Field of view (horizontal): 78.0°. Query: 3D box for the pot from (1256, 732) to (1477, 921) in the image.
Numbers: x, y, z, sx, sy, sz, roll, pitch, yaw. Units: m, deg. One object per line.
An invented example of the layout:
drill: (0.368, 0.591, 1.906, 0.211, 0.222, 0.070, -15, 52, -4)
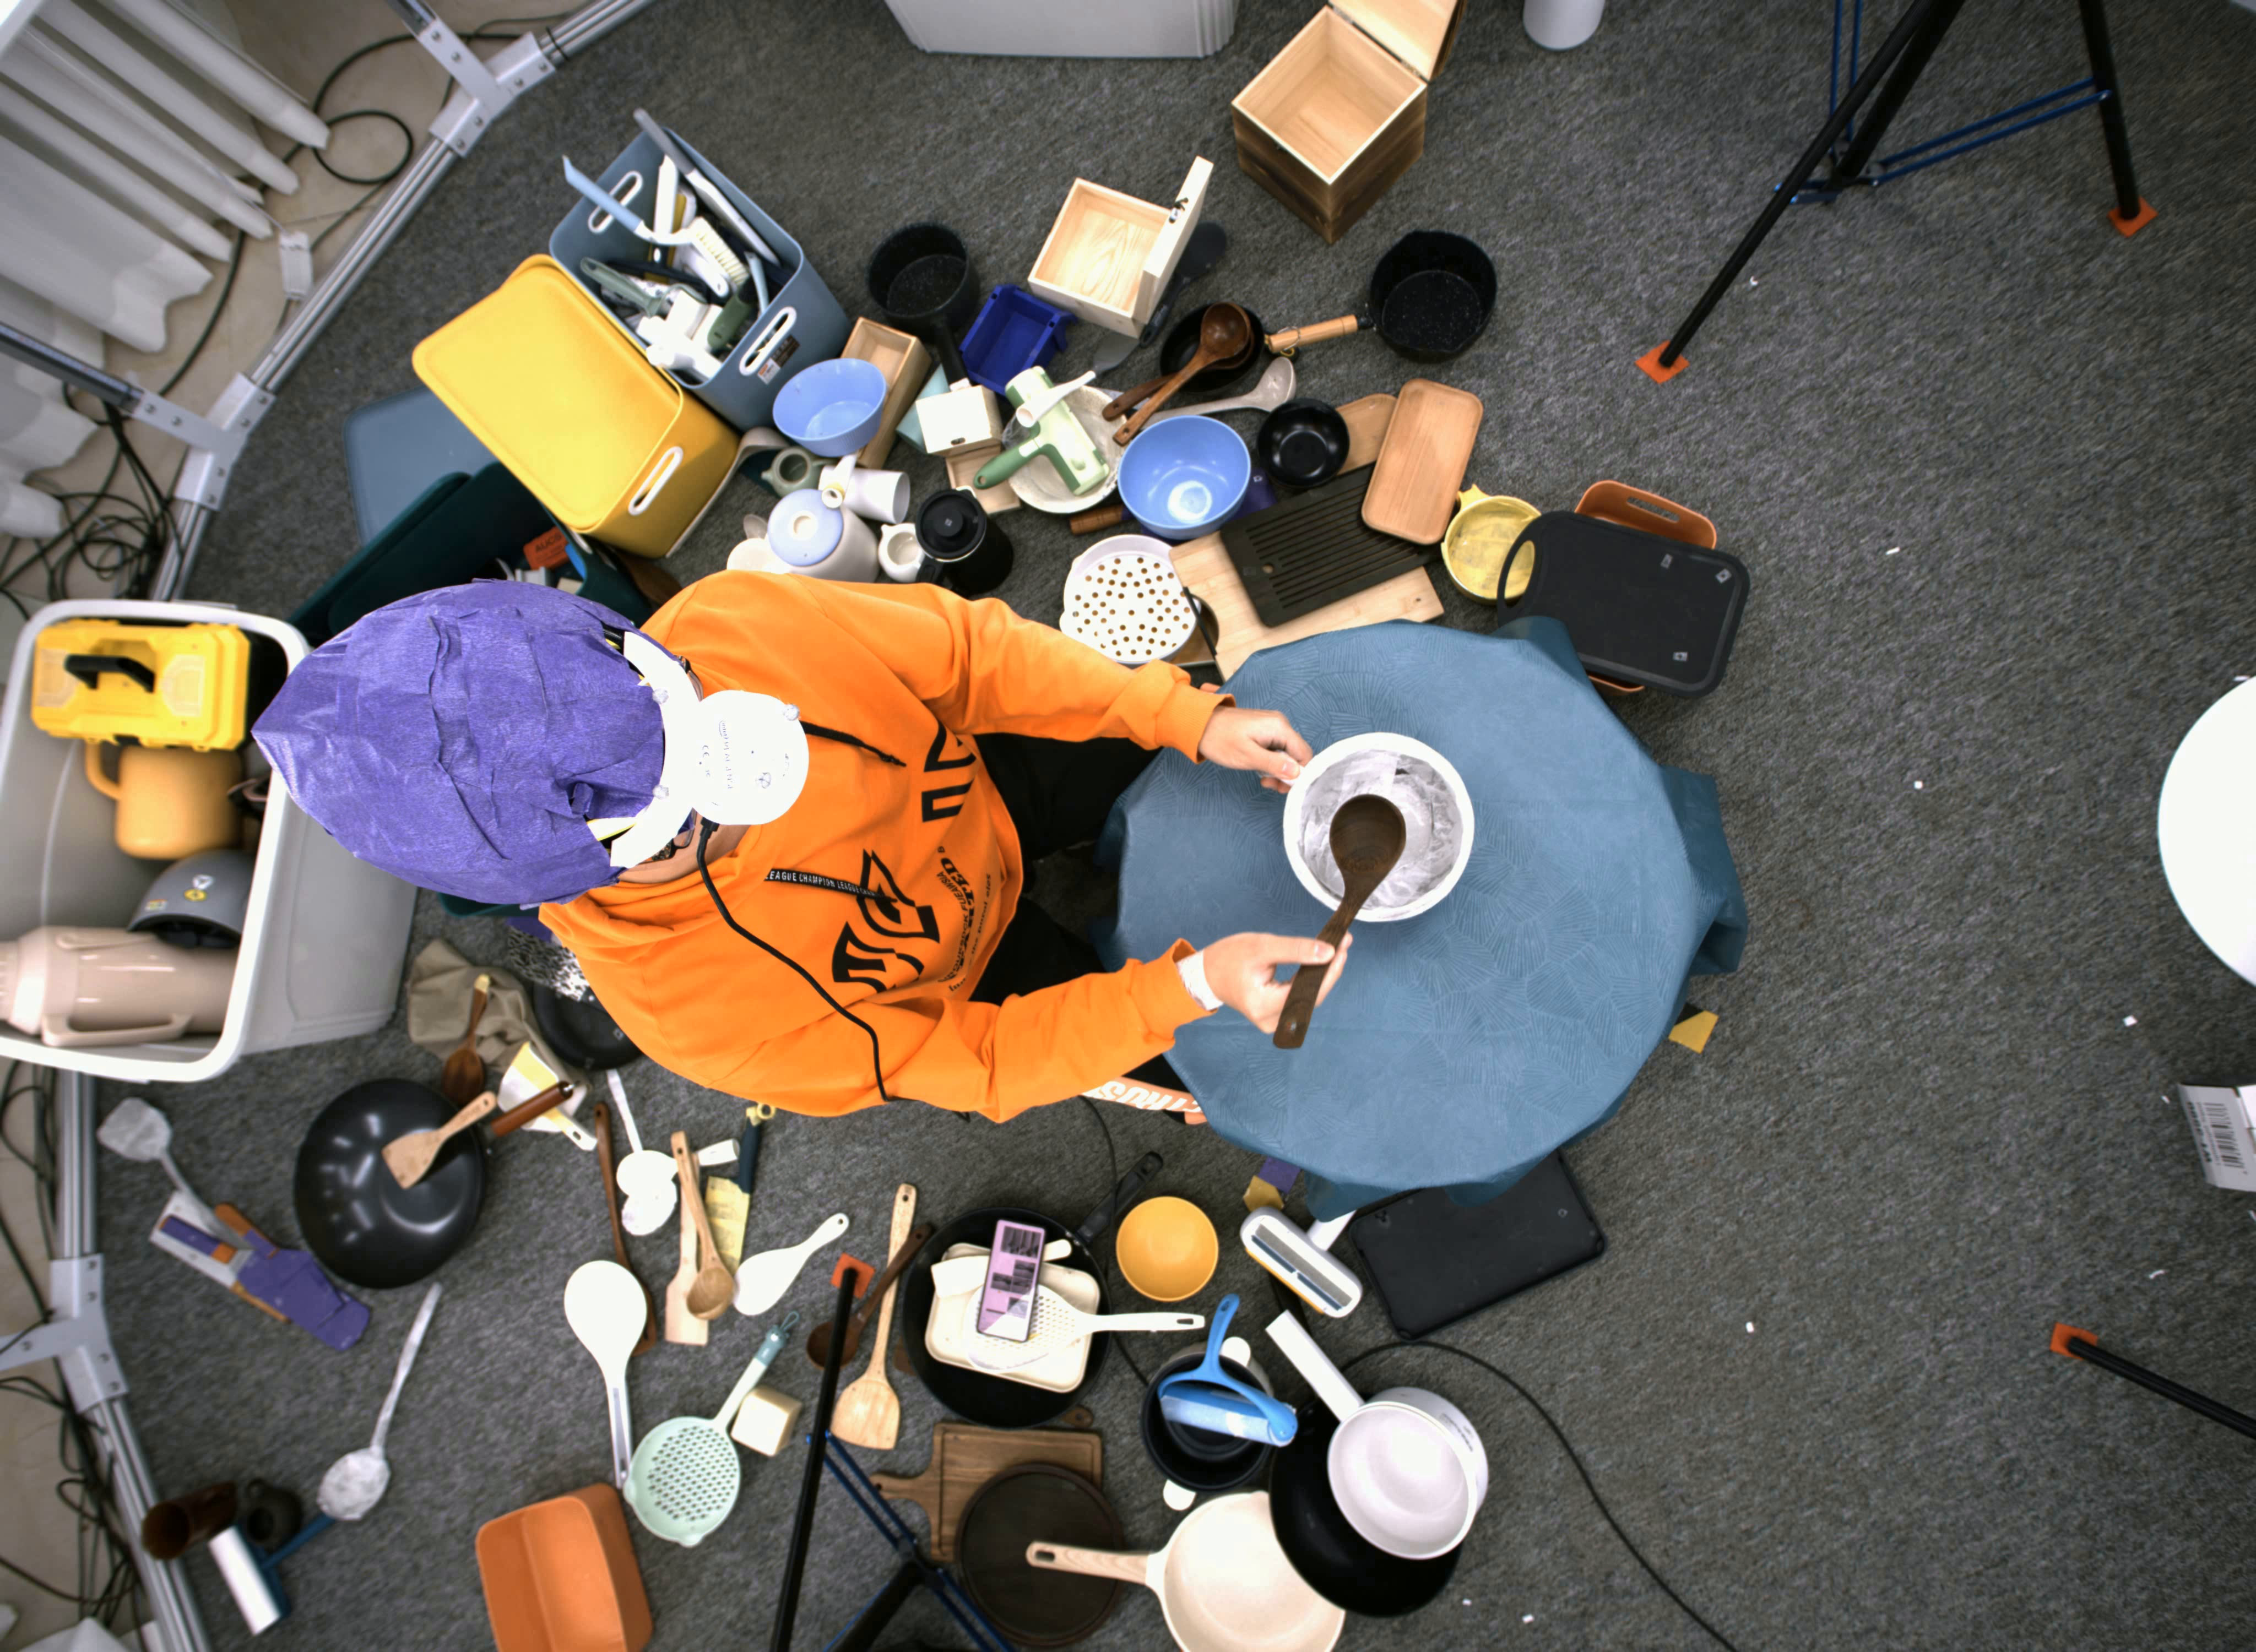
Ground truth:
pot: (0.225, -0.011, 1.354, 0.233, 0.136, 0.179, 32, 95, 13)

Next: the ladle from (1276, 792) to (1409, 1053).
ladle: (0.176, 0.073, 1.193, 0.077, 0.267, 0.072, -3, 127, 36)
